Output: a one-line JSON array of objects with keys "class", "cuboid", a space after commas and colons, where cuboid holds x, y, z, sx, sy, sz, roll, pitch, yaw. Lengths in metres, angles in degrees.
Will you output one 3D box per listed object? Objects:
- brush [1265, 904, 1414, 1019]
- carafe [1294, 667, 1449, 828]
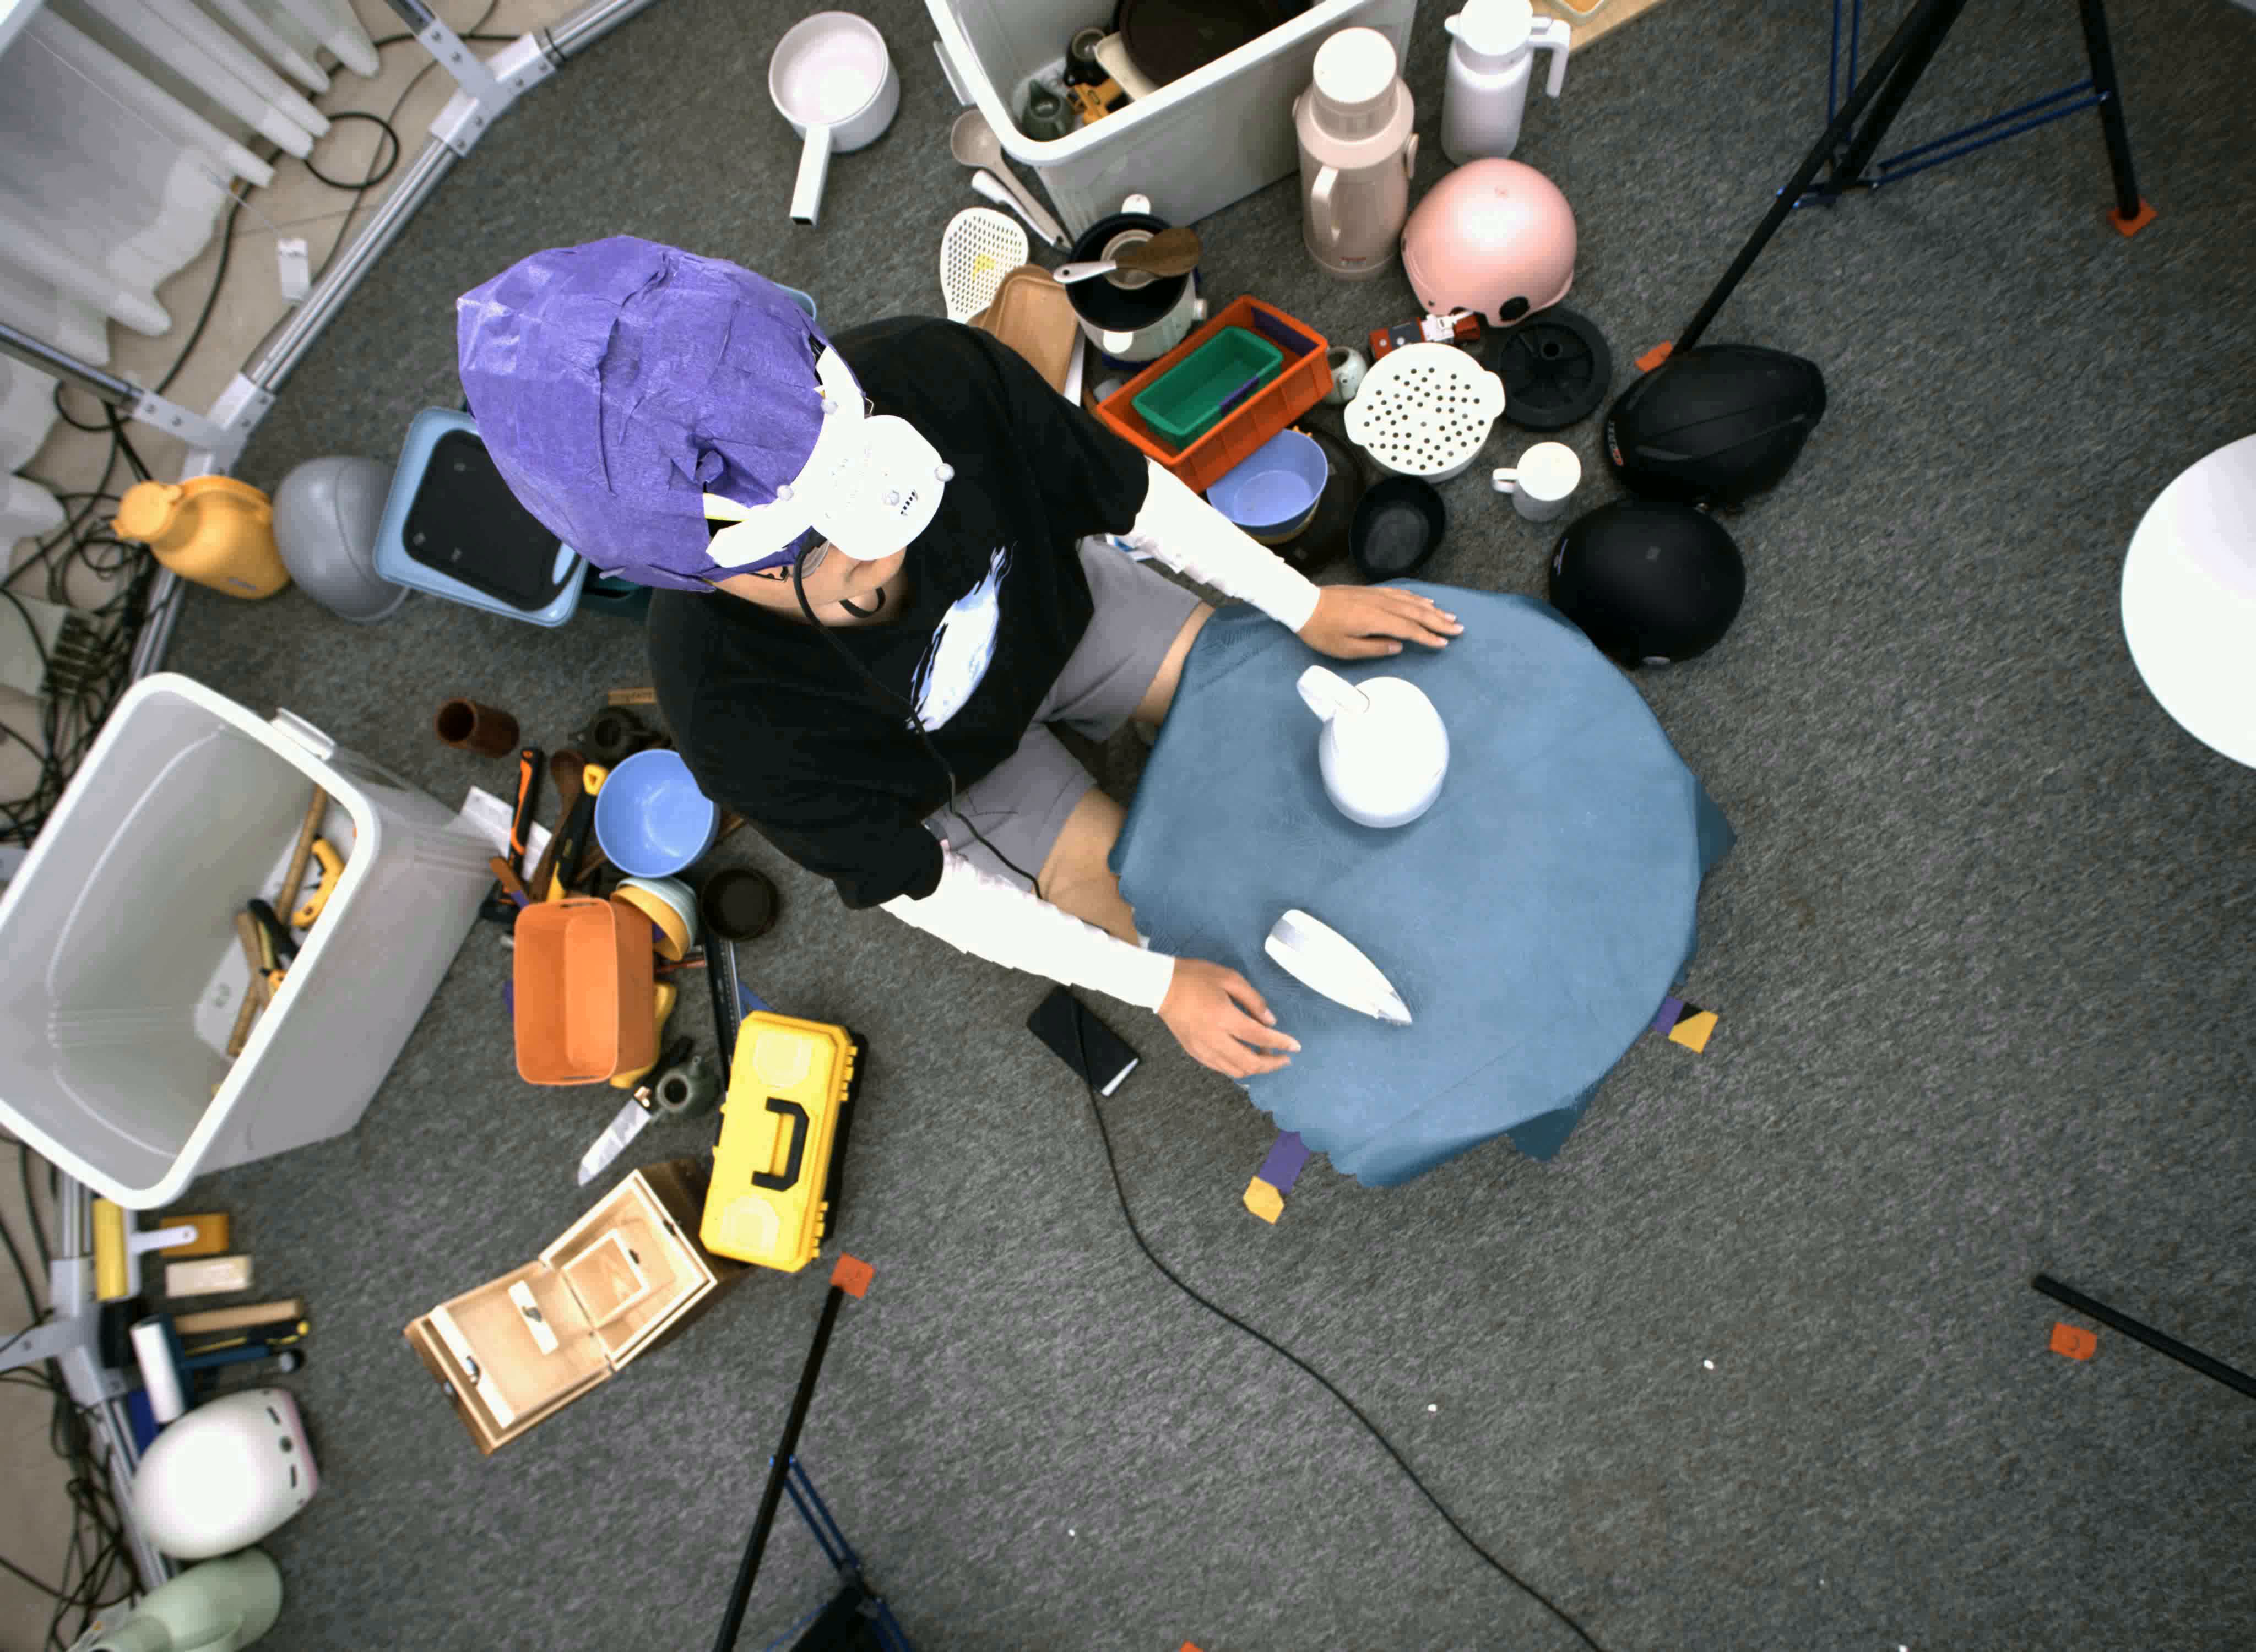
[{"class": "brush", "cuboid": [0.219, 0.146, 1.417, 0.175, 0.094, 0.062, 35, 94, 9]}, {"class": "carafe", "cuboid": [0.234, -0.089, 1.348, 0.167, 0.249, 0.133, 40, 93, 12]}]
